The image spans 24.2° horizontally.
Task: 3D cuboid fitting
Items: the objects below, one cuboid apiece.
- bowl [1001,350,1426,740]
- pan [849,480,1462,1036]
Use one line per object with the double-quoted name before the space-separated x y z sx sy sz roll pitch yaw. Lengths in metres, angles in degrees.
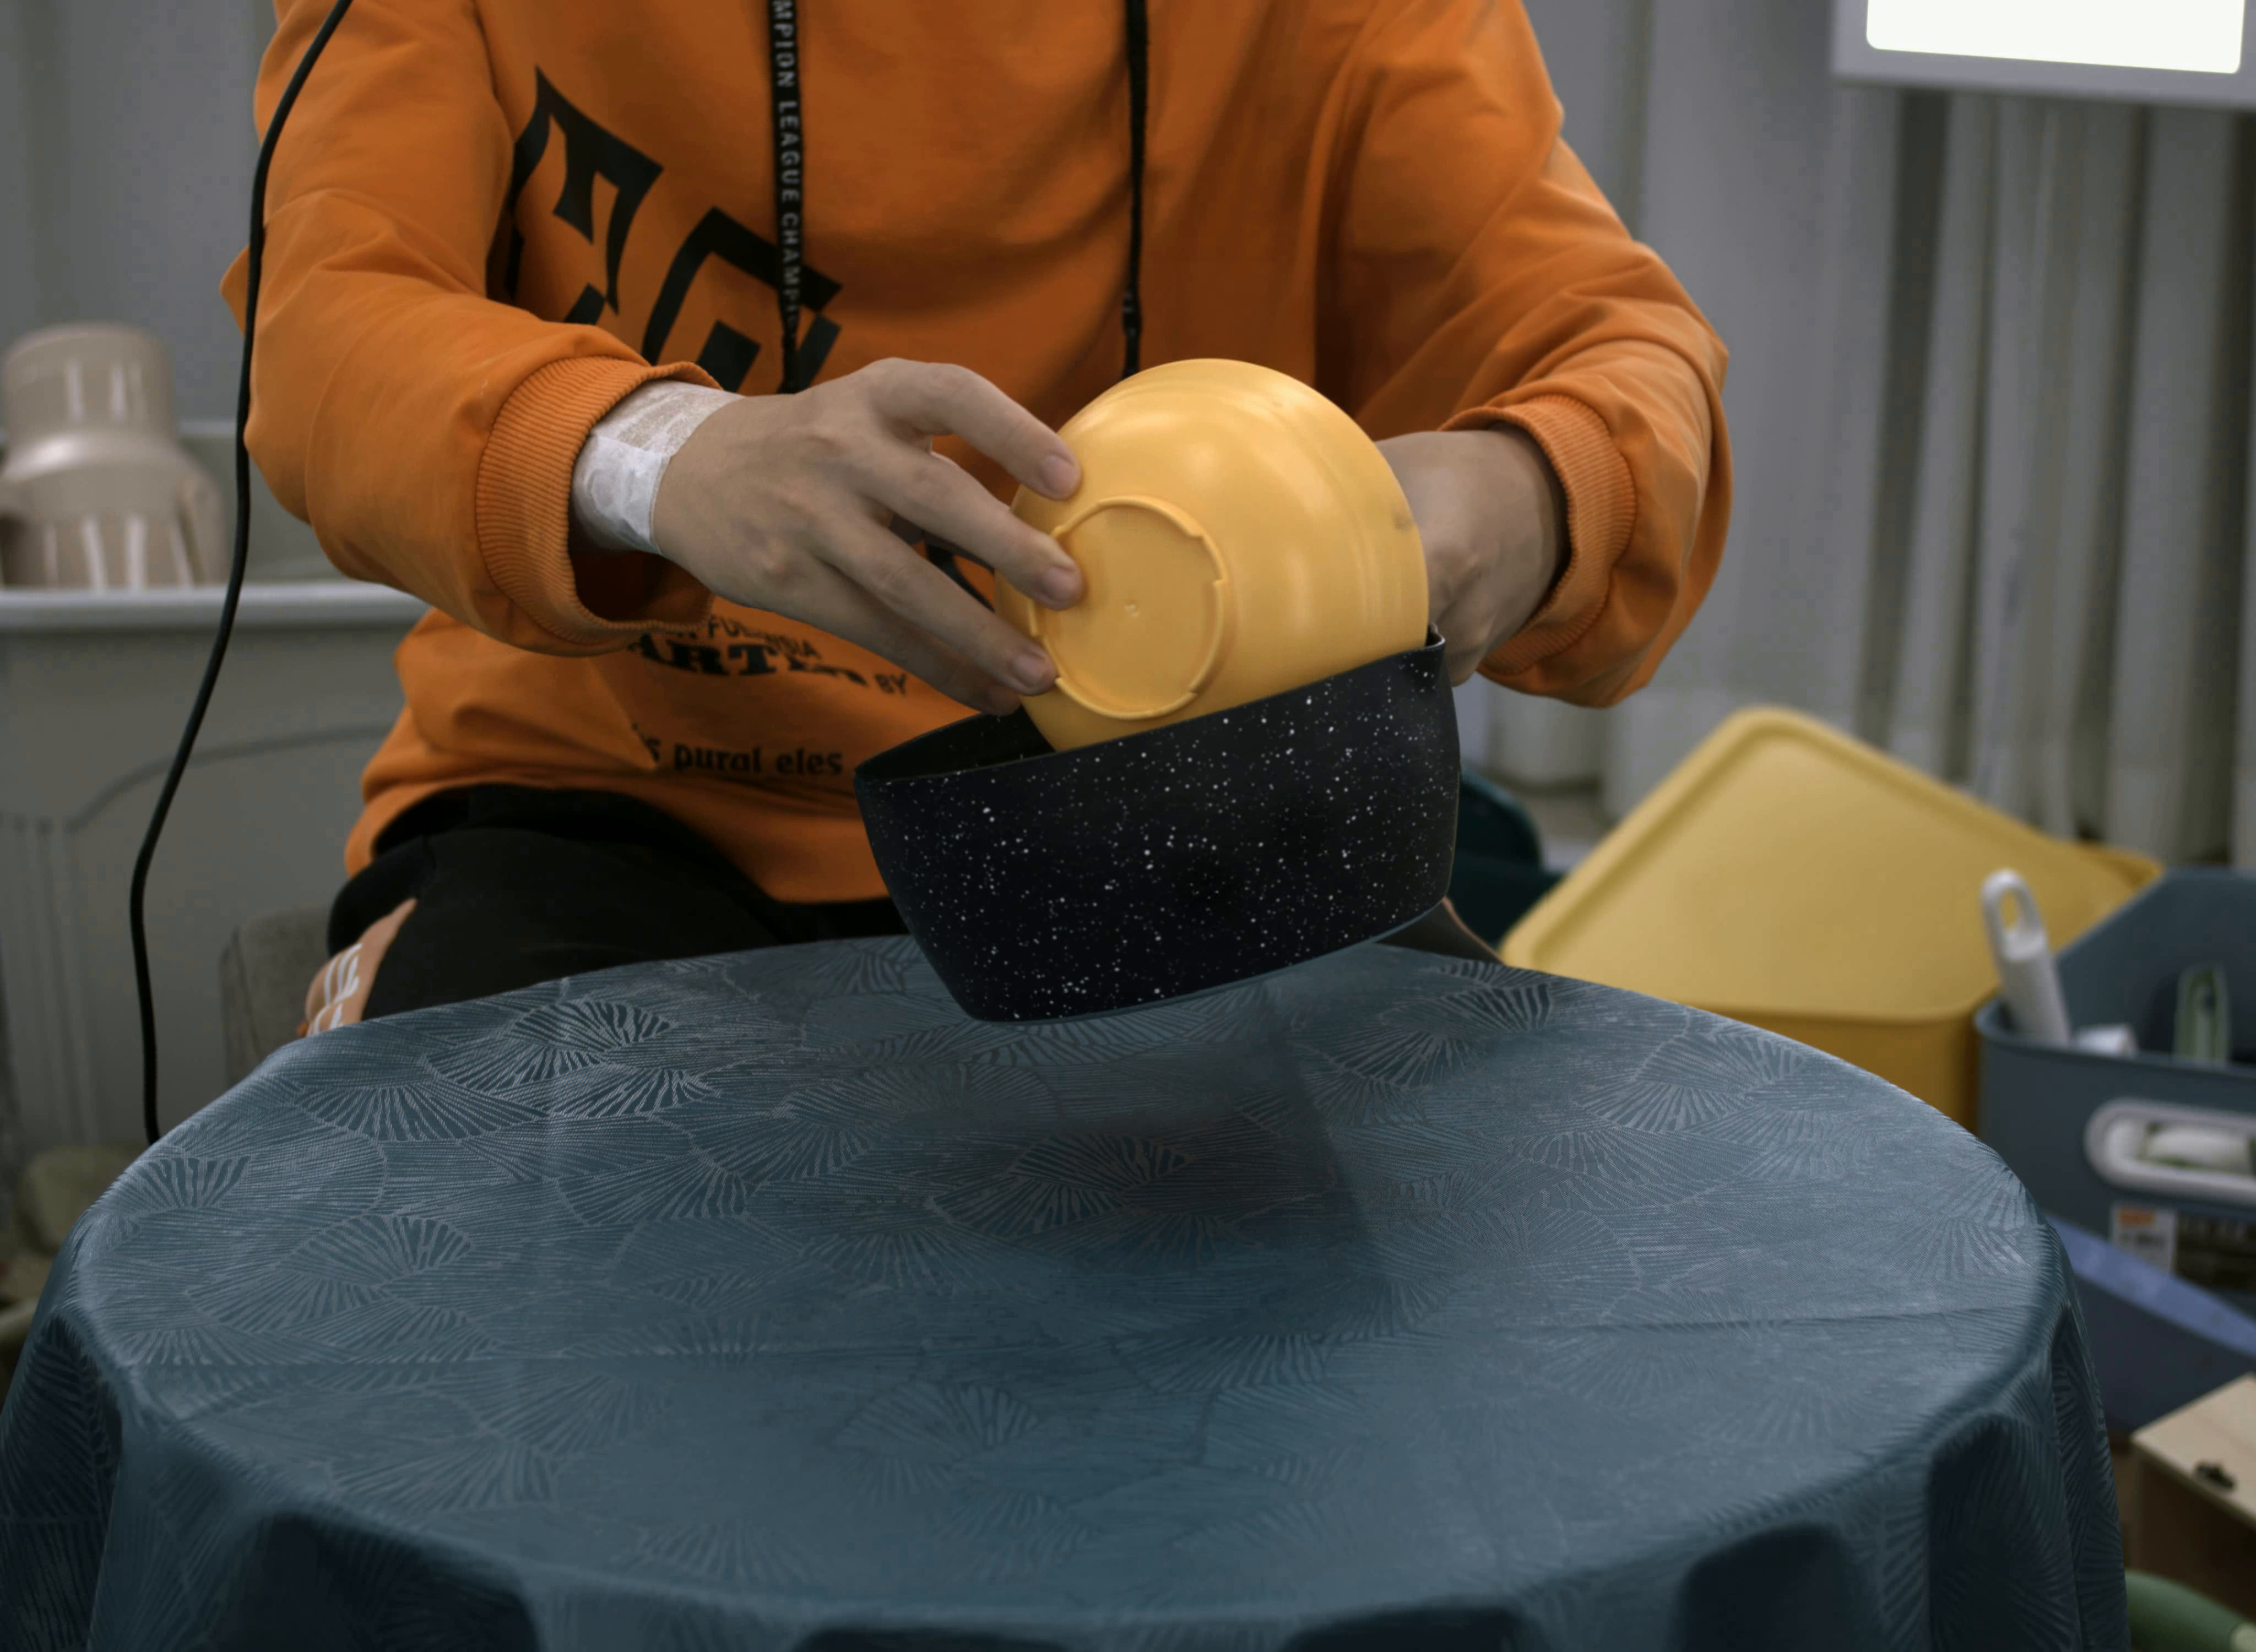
"bowl" 0.013 -0.067 1.577 0.143 0.146 0.060 10 16 29
"pan" 0.041 -0.028 1.676 0.206 0.109 0.343 -12 9 24
